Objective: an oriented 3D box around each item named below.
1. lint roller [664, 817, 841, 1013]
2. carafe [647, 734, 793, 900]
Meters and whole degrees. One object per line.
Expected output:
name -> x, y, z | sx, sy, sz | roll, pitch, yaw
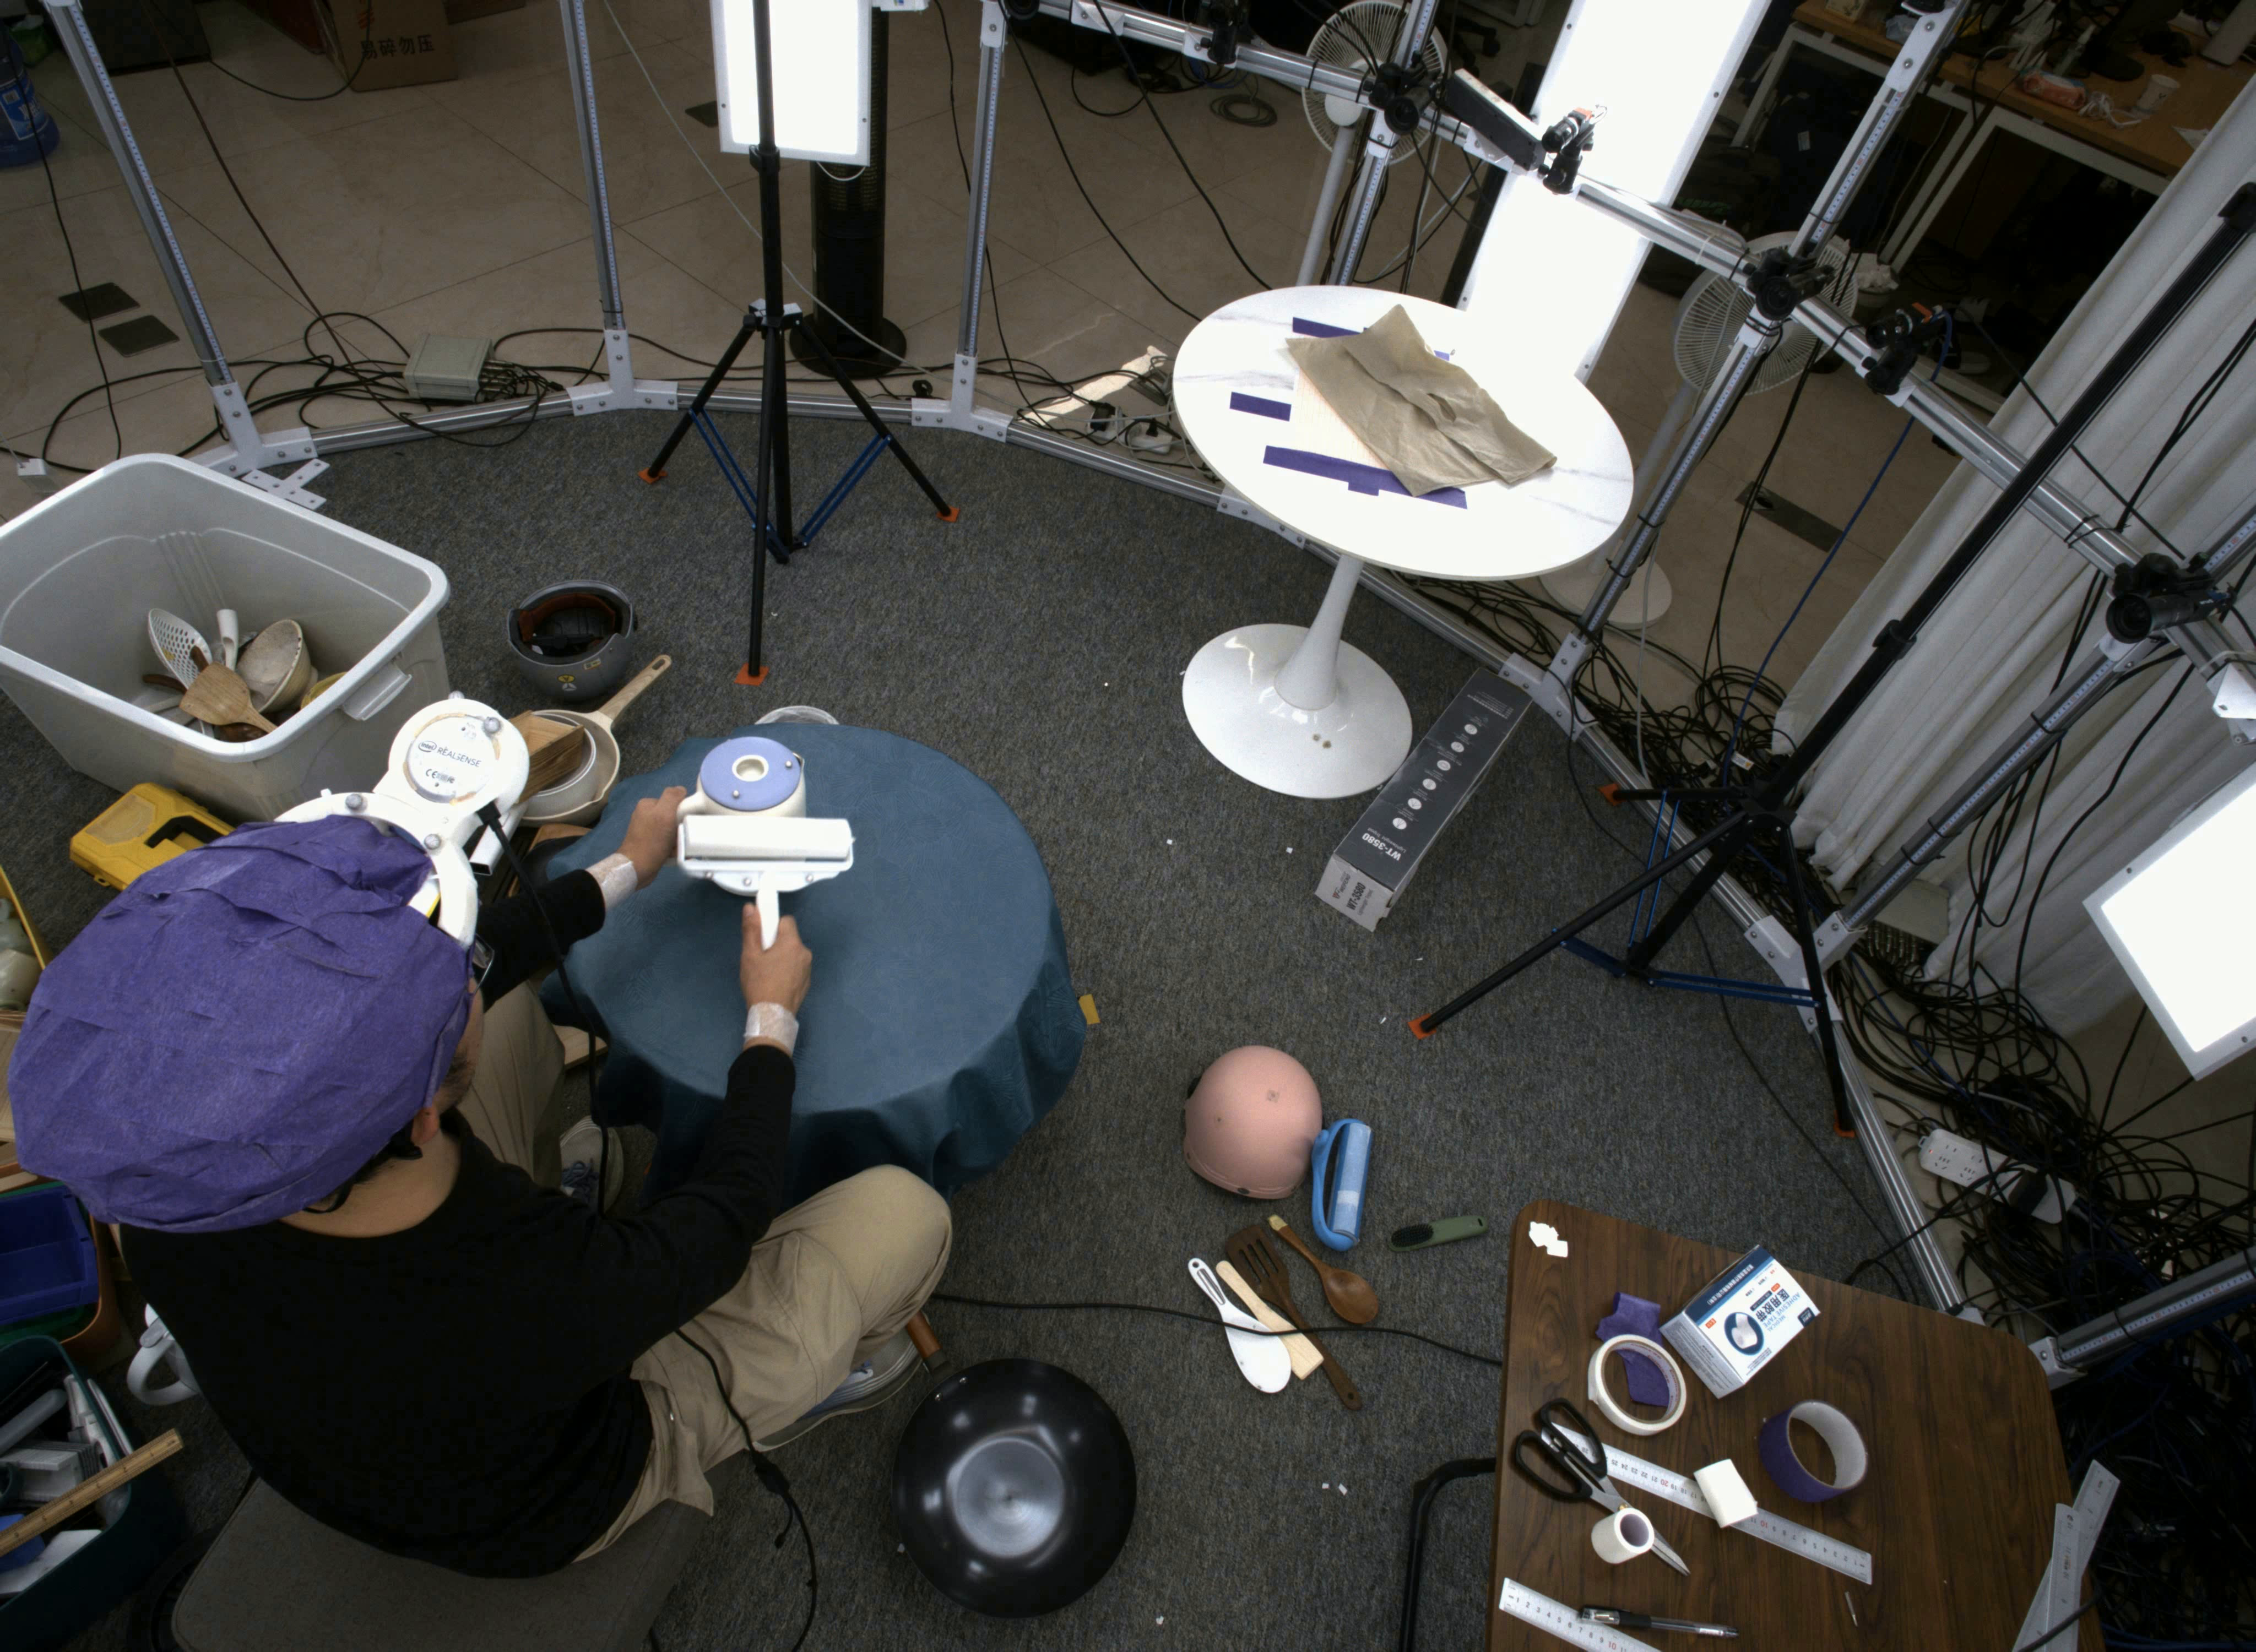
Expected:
lint roller -> -0.428, 0.099, 1.496 | 0.206, 0.047, 0.227 | -1, 82, -33
carafe -> -0.501, -0.002, 1.585 | 0.192, 0.187, 0.128 | -26, 59, -28
